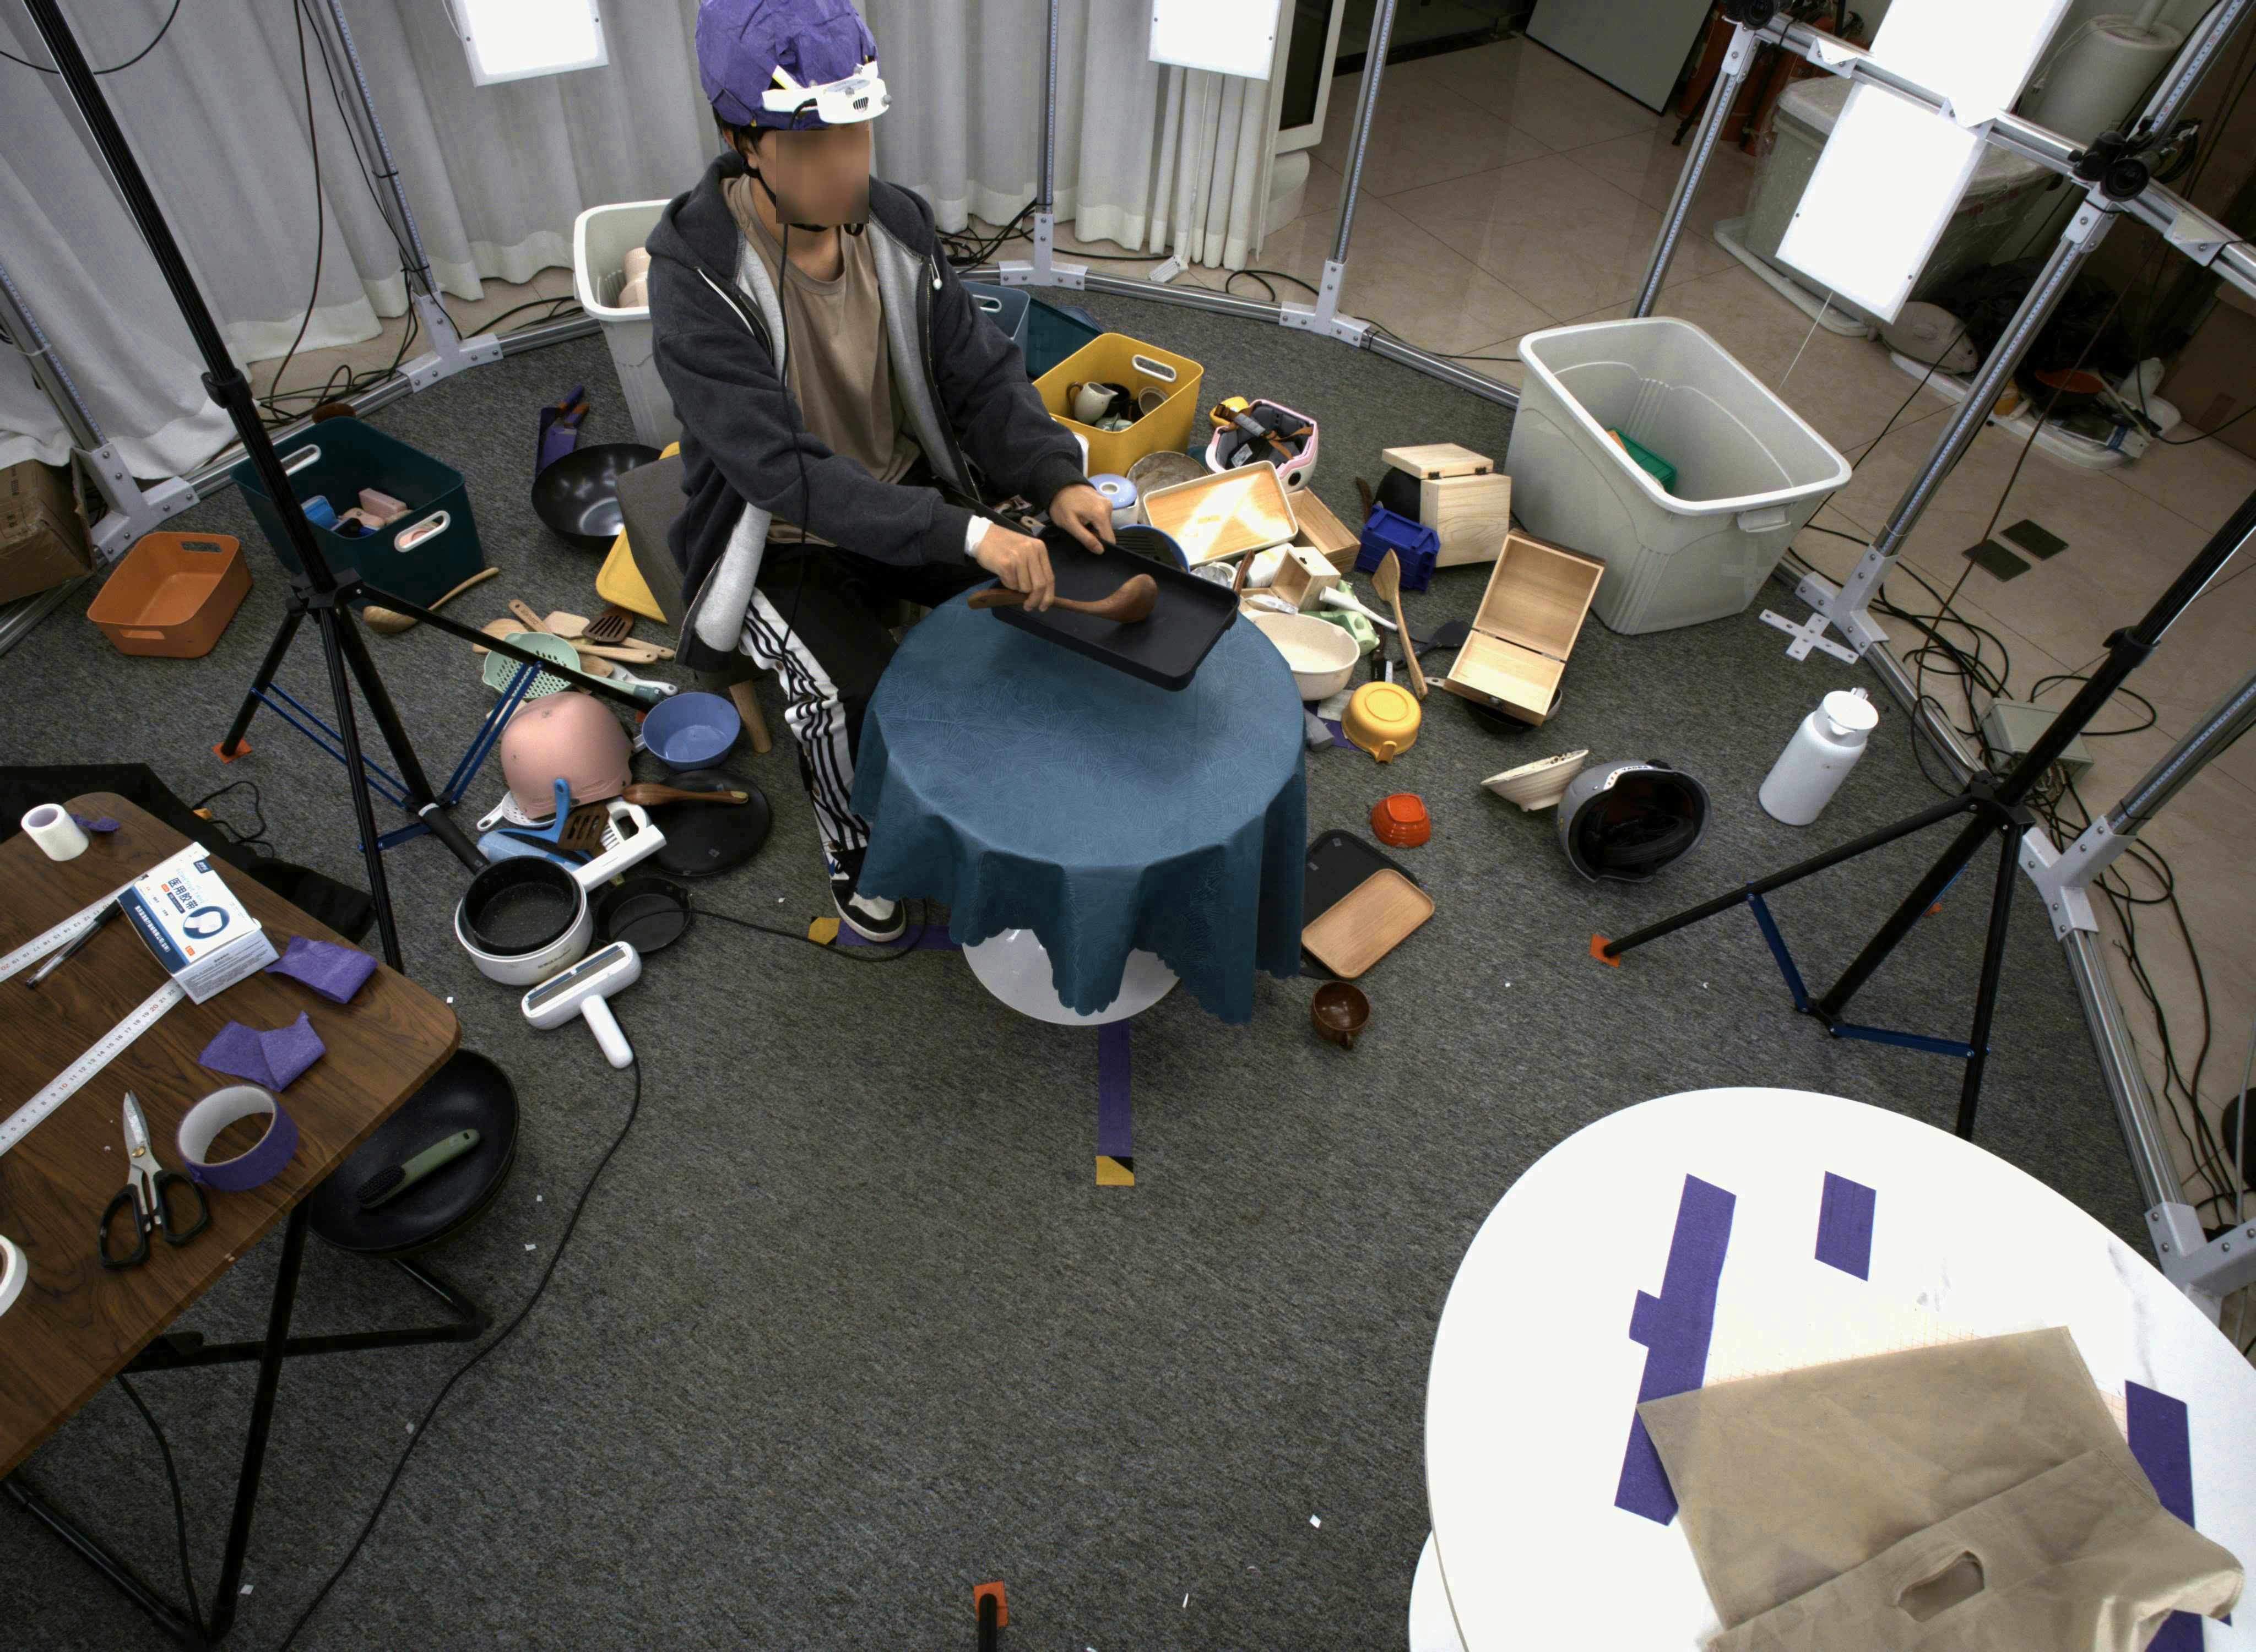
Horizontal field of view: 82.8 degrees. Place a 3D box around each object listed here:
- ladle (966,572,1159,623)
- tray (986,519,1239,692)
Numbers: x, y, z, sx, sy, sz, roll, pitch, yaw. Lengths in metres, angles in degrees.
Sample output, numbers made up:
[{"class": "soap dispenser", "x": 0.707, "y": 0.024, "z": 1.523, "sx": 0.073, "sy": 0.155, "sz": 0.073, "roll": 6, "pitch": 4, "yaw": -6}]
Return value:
[{"class": "ladle", "x": -0.087, "y": -0.314, "z": 1.747, "sx": 0.260, "sy": 0.075, "sz": 0.067, "roll": 3, "pitch": 49, "yaw": -3}, {"class": "tray", "x": -0.022, "y": -0.309, "z": 1.781, "sx": 0.321, "sy": 0.036, "sz": 0.187, "roll": 26, "pitch": 58, "yaw": 18}]
